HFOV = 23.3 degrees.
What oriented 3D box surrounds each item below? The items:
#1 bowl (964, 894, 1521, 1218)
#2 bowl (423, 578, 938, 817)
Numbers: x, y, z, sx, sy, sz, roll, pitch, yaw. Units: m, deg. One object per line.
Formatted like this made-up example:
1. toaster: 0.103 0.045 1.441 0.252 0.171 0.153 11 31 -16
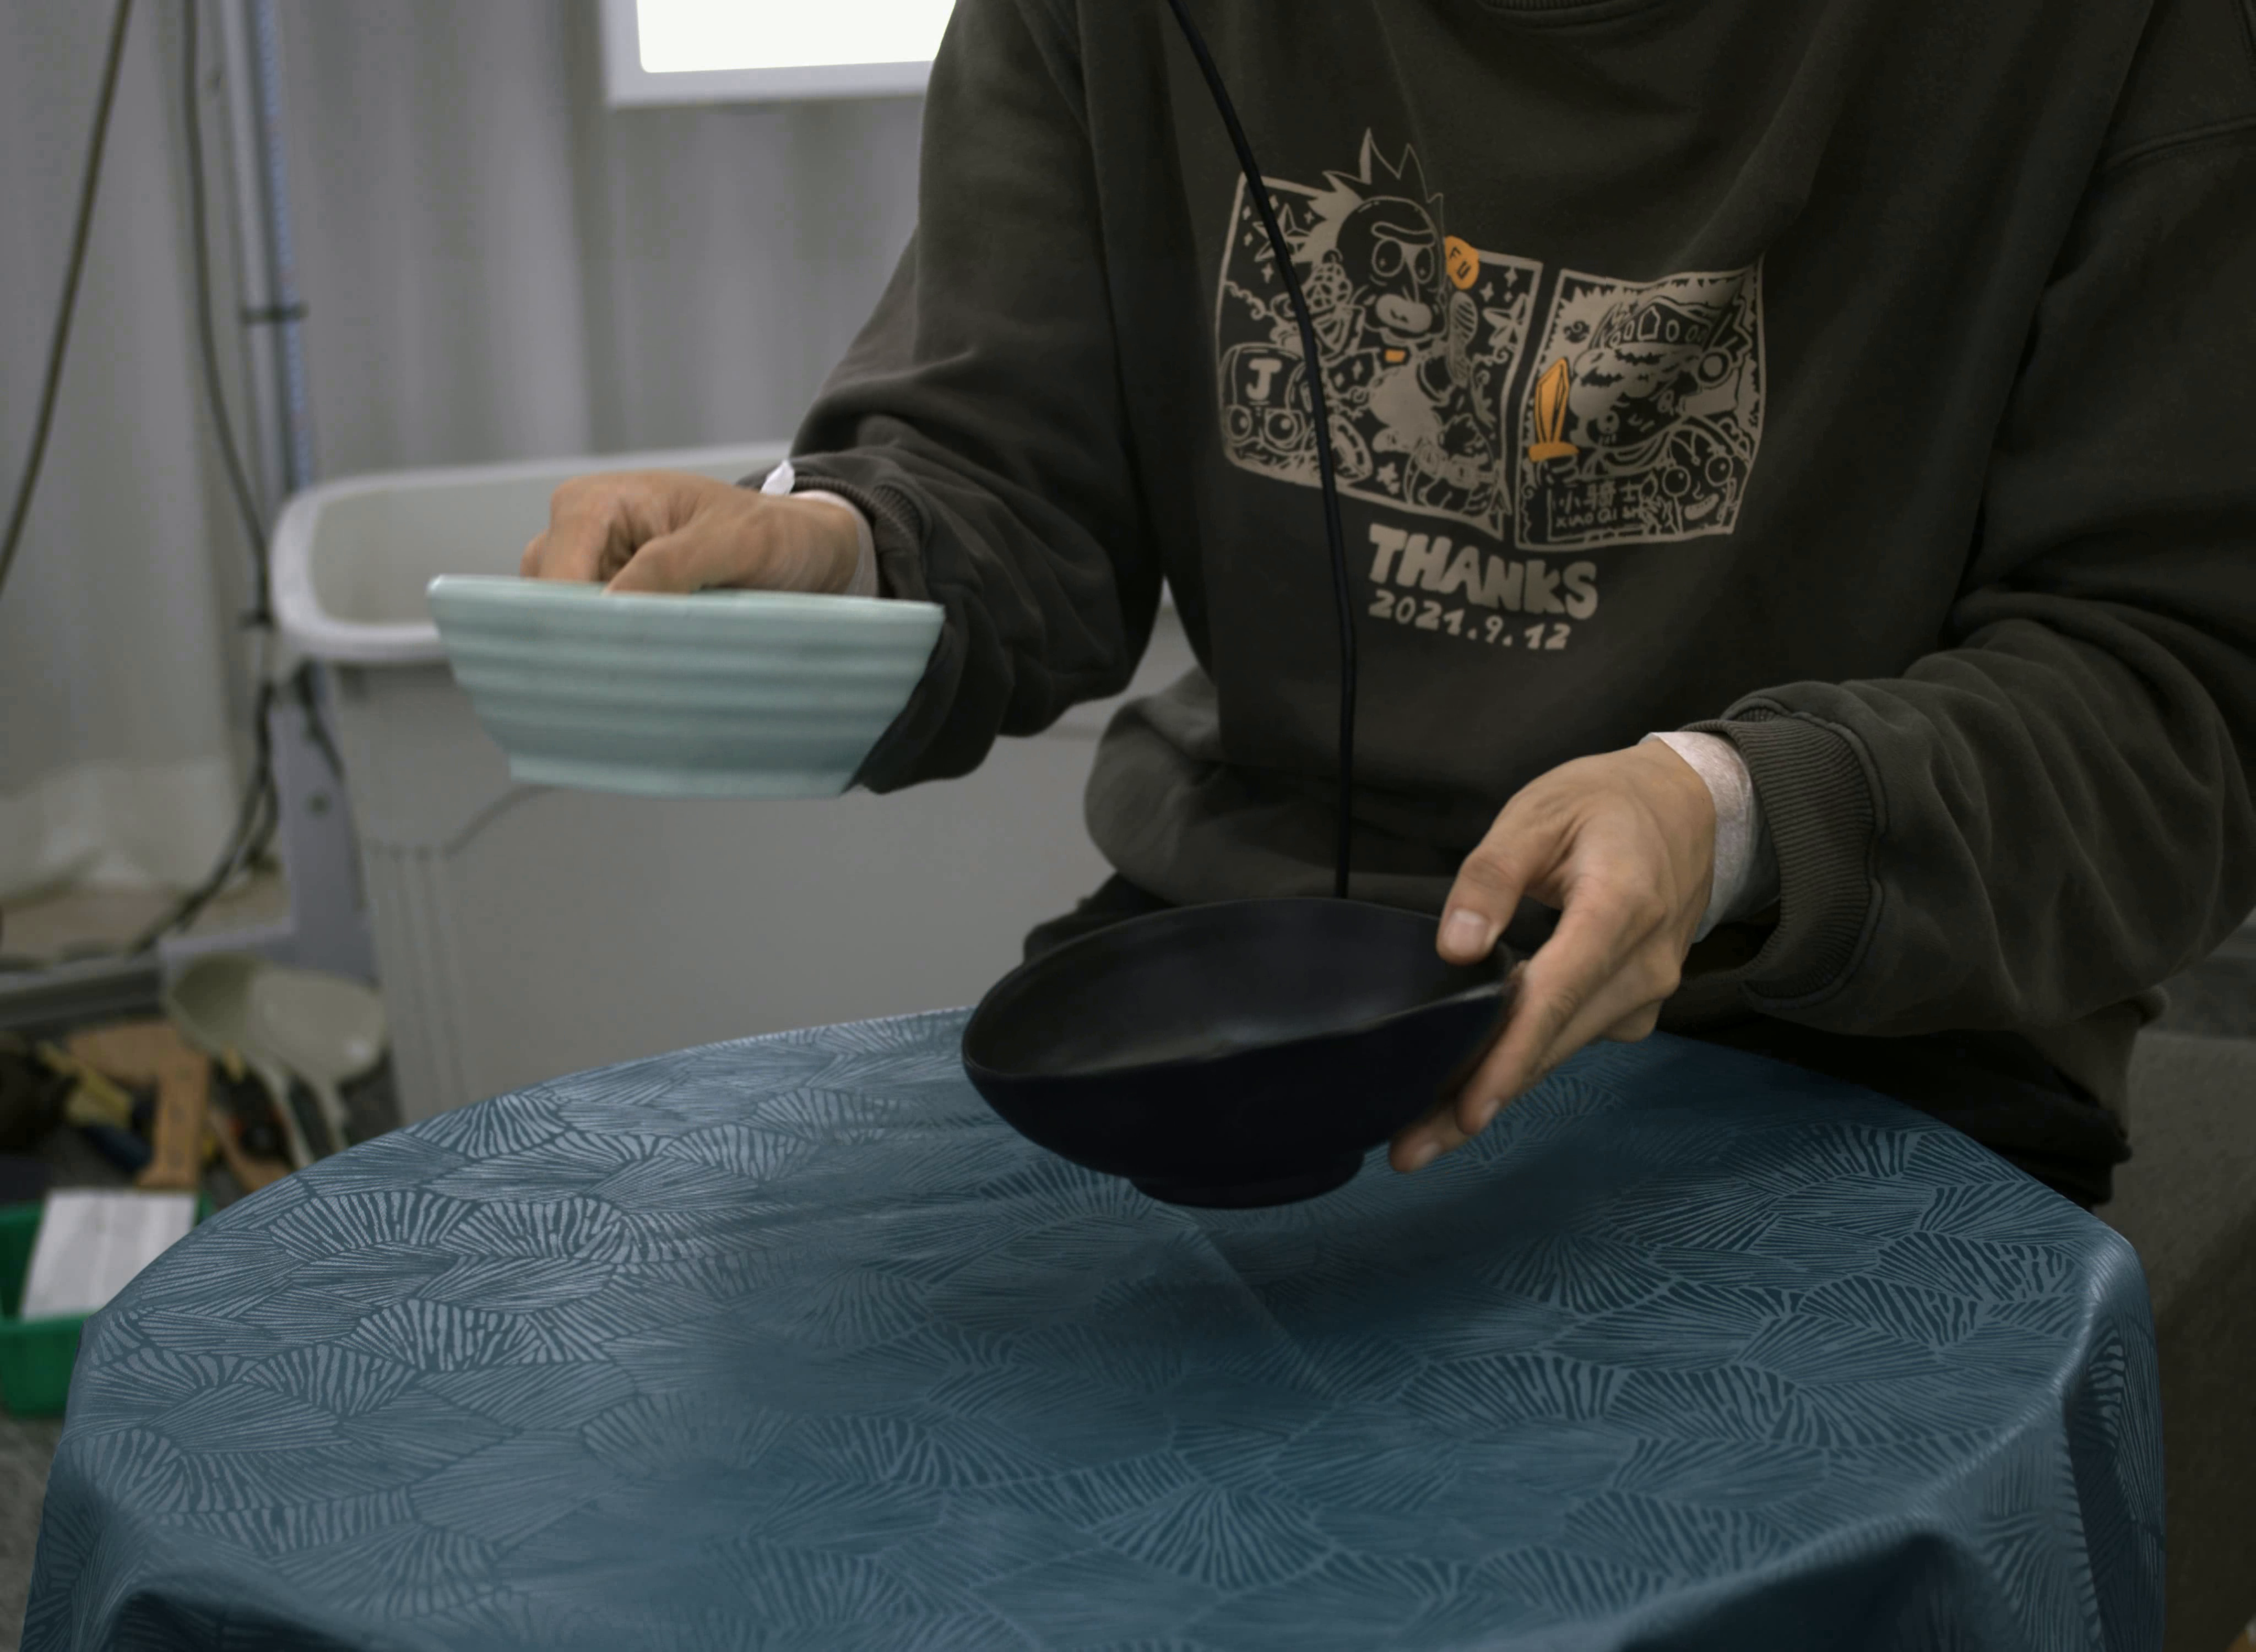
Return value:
1. bowl: 0.037 0.074 1.612 0.169 0.066 0.138 -12 18 -22
2. bowl: -0.133 -0.037 1.609 0.151 0.058 0.152 4 6 -1
